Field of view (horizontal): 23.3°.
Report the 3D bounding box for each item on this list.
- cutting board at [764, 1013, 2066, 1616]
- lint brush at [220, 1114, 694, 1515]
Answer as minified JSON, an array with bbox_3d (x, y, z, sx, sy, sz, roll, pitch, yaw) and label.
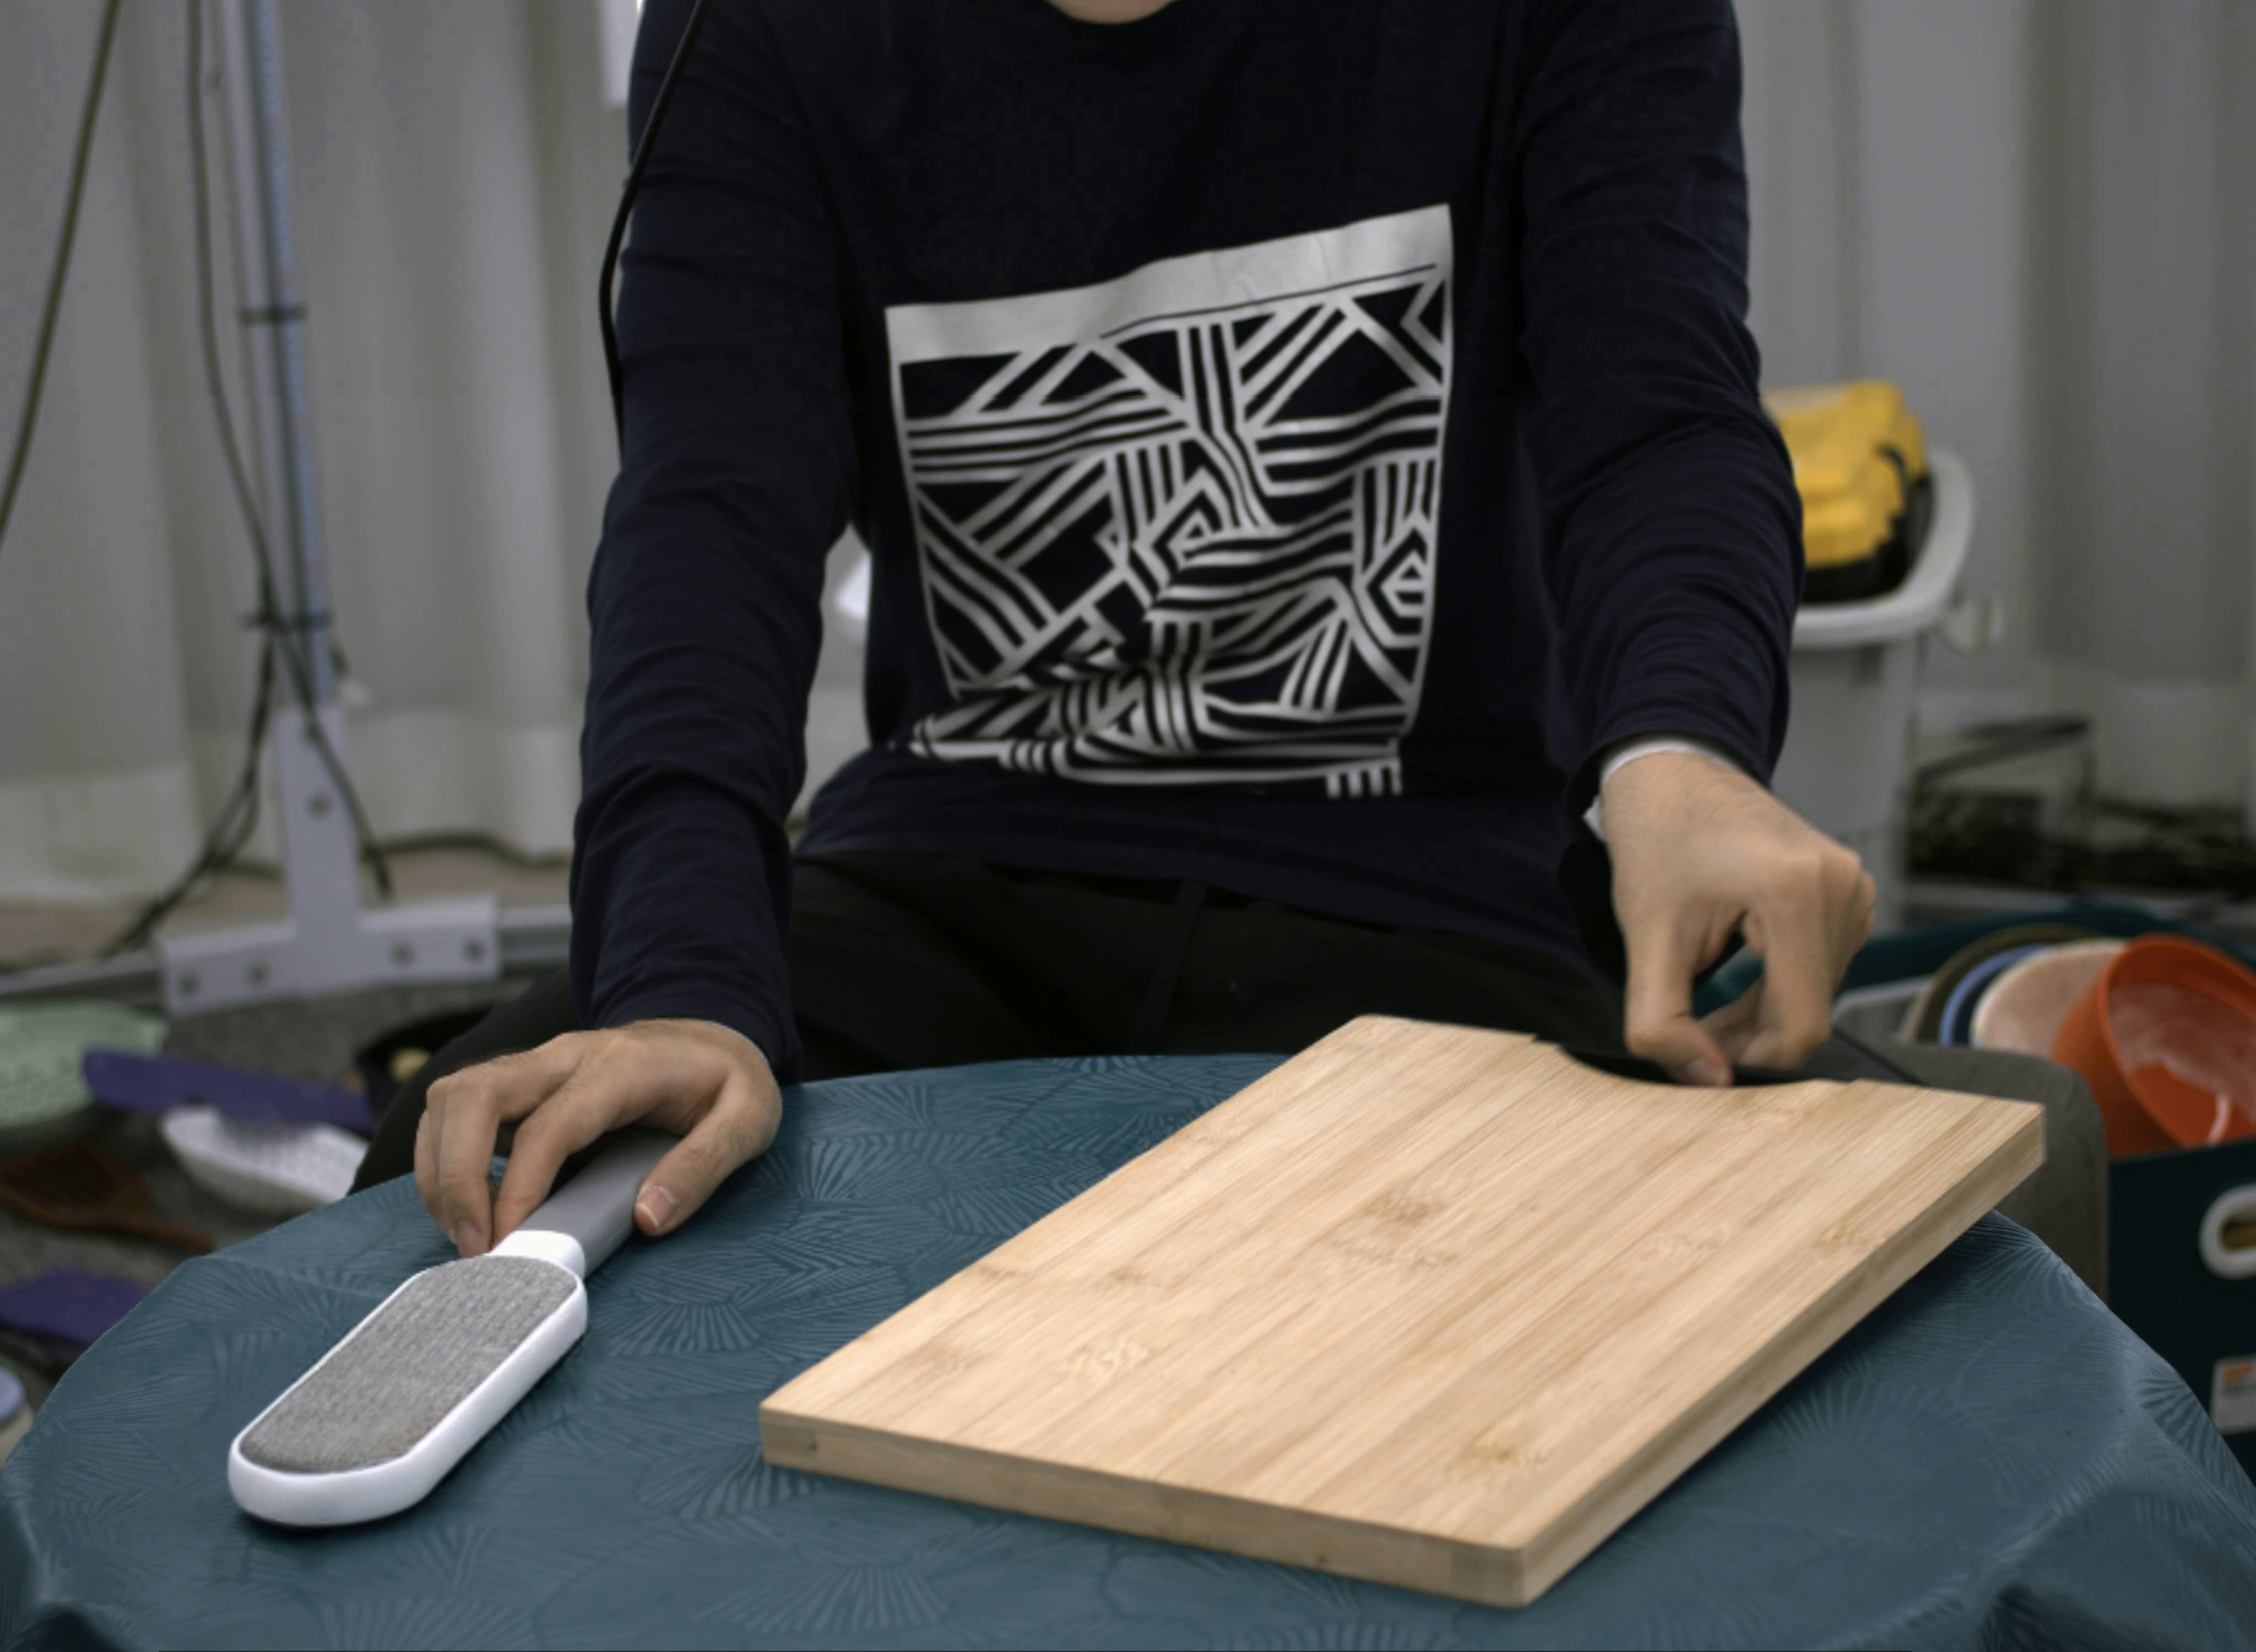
[{"bbox_3d":[0.090,0.130,1.579,0.251,0.023,0.349,7,20,31],"label":"cutting board"},{"bbox_3d":[-0.185,0.139,1.605,0.060,0.021,0.310,-2,14,16],"label":"lint brush"}]
